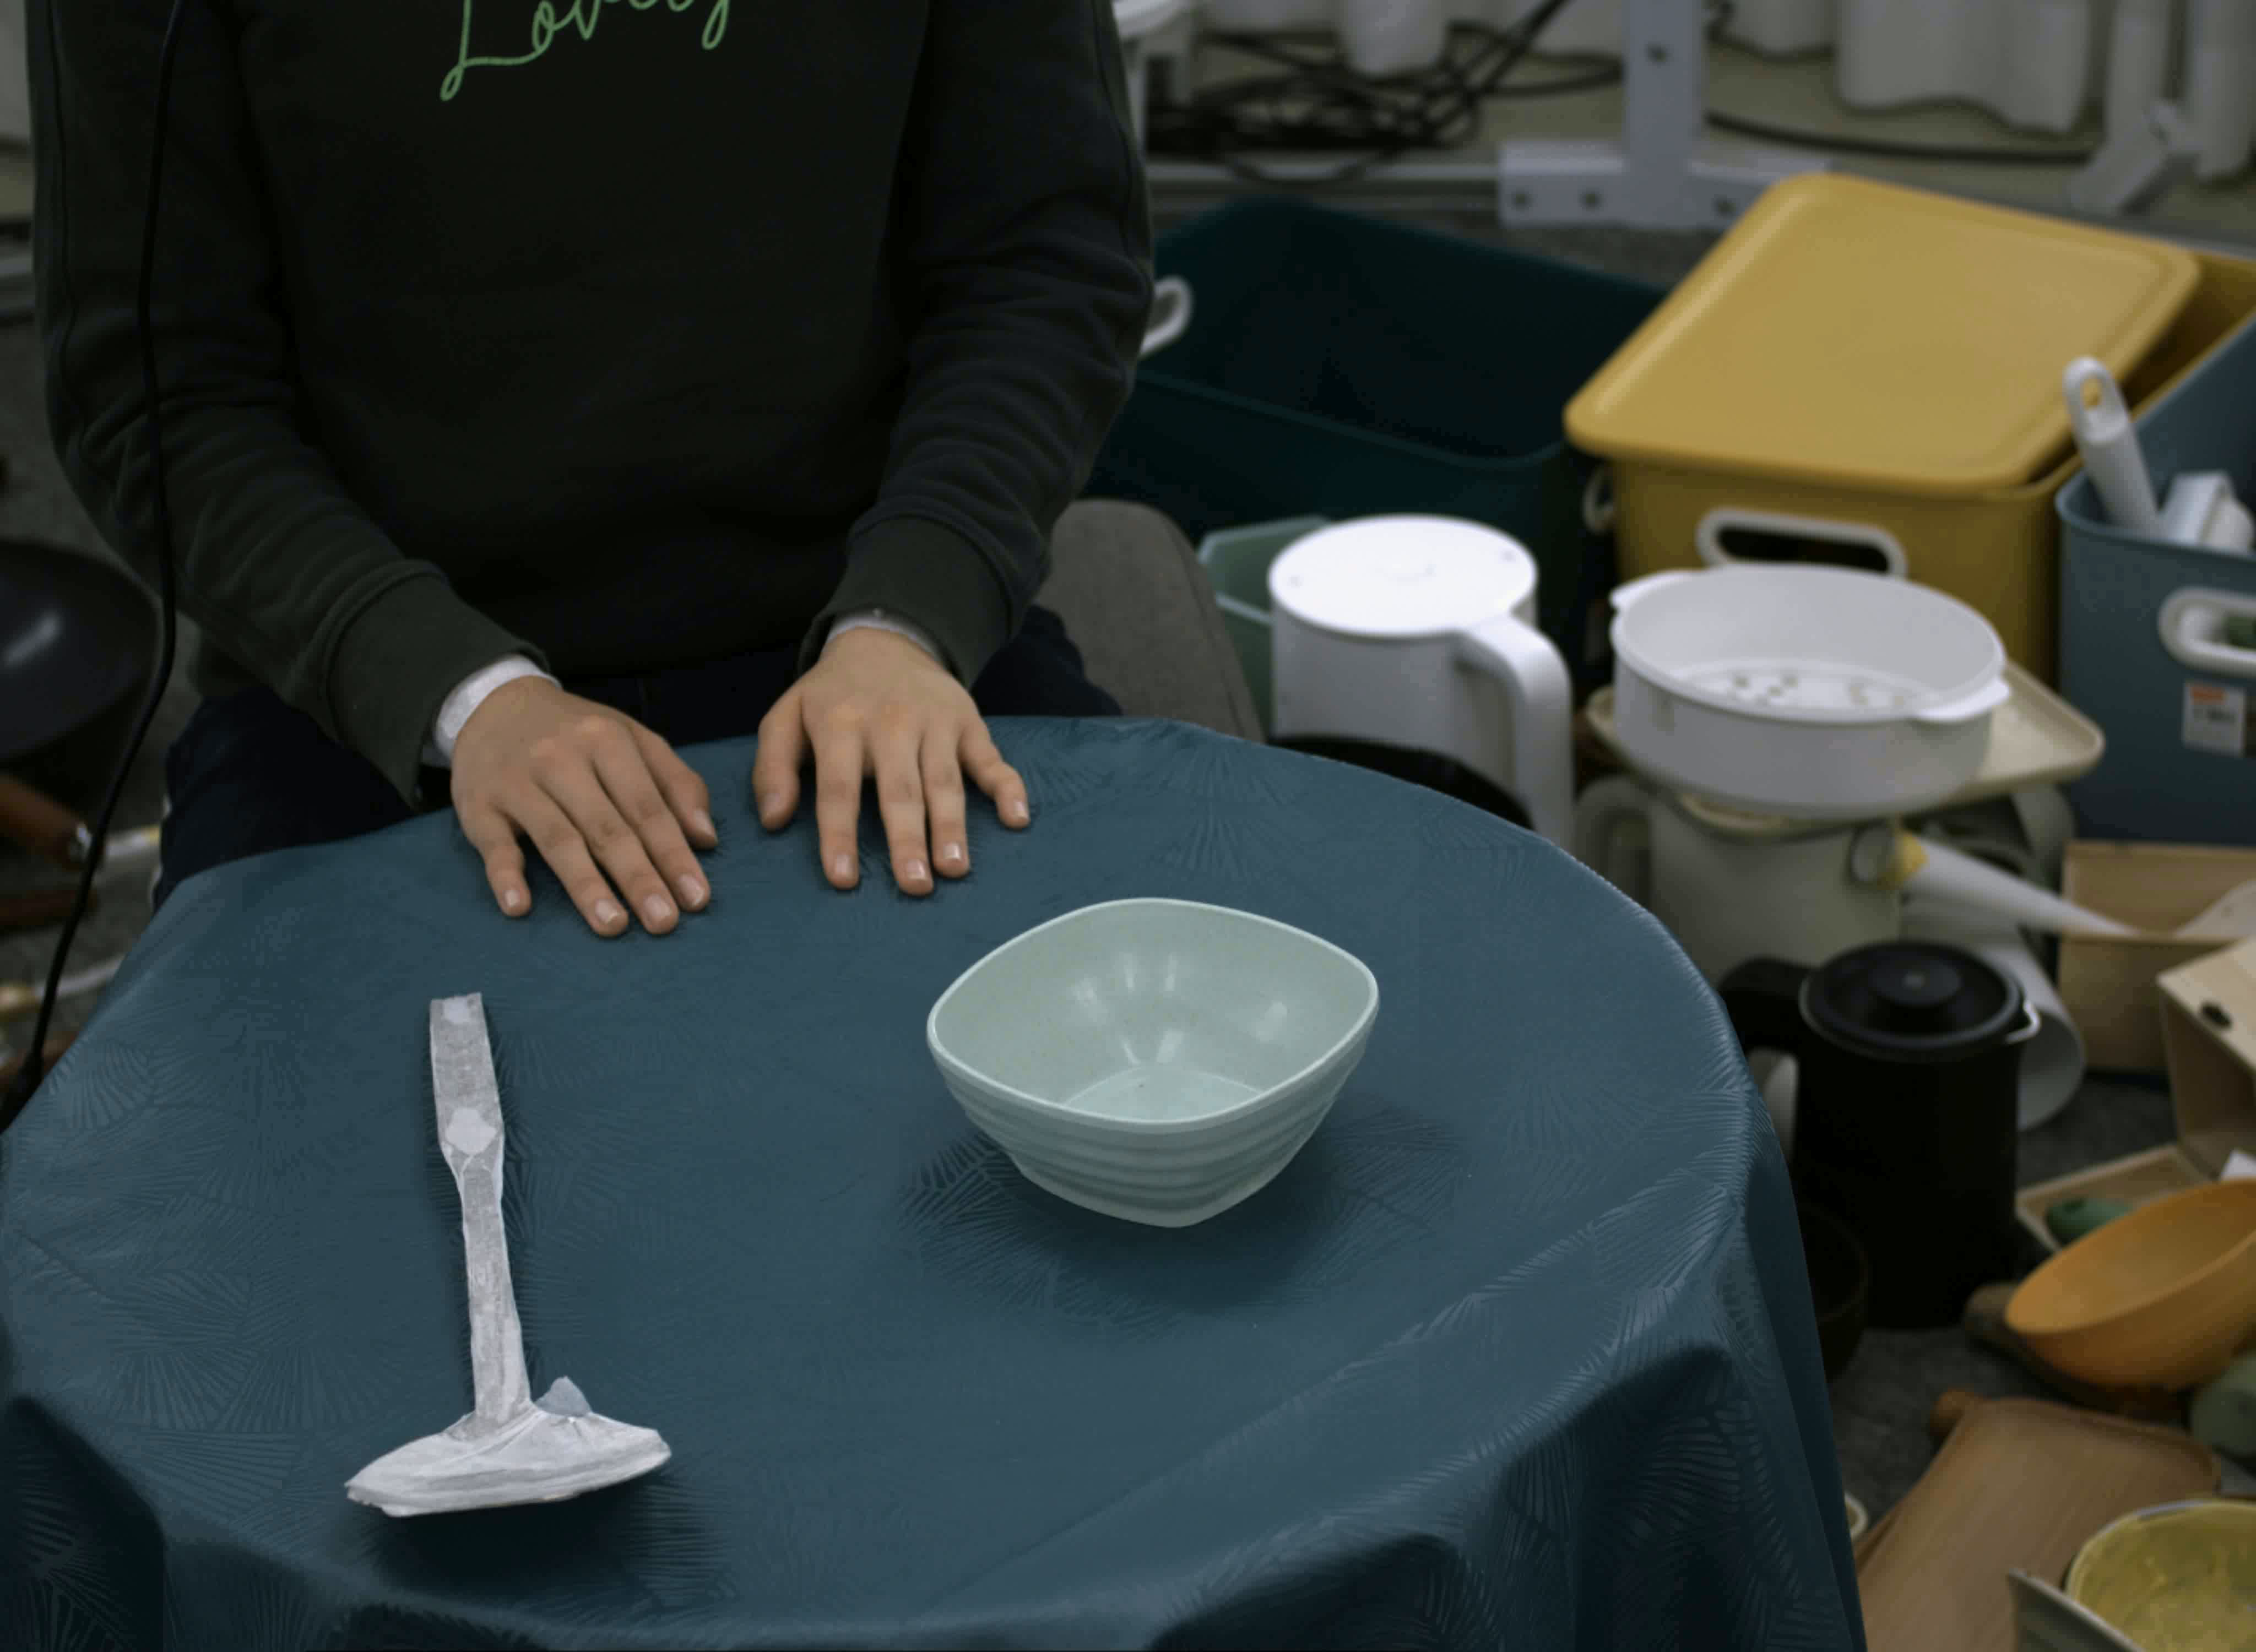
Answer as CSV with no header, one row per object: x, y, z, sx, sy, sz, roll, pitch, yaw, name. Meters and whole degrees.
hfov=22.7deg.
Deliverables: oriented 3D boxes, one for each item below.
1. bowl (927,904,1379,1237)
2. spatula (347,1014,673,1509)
0.009,0.087,1.872,0.151,0.058,0.154,-1,27,1,bowl
-0.204,0.133,1.818,0.098,0.044,0.369,-8,28,-5,spatula
